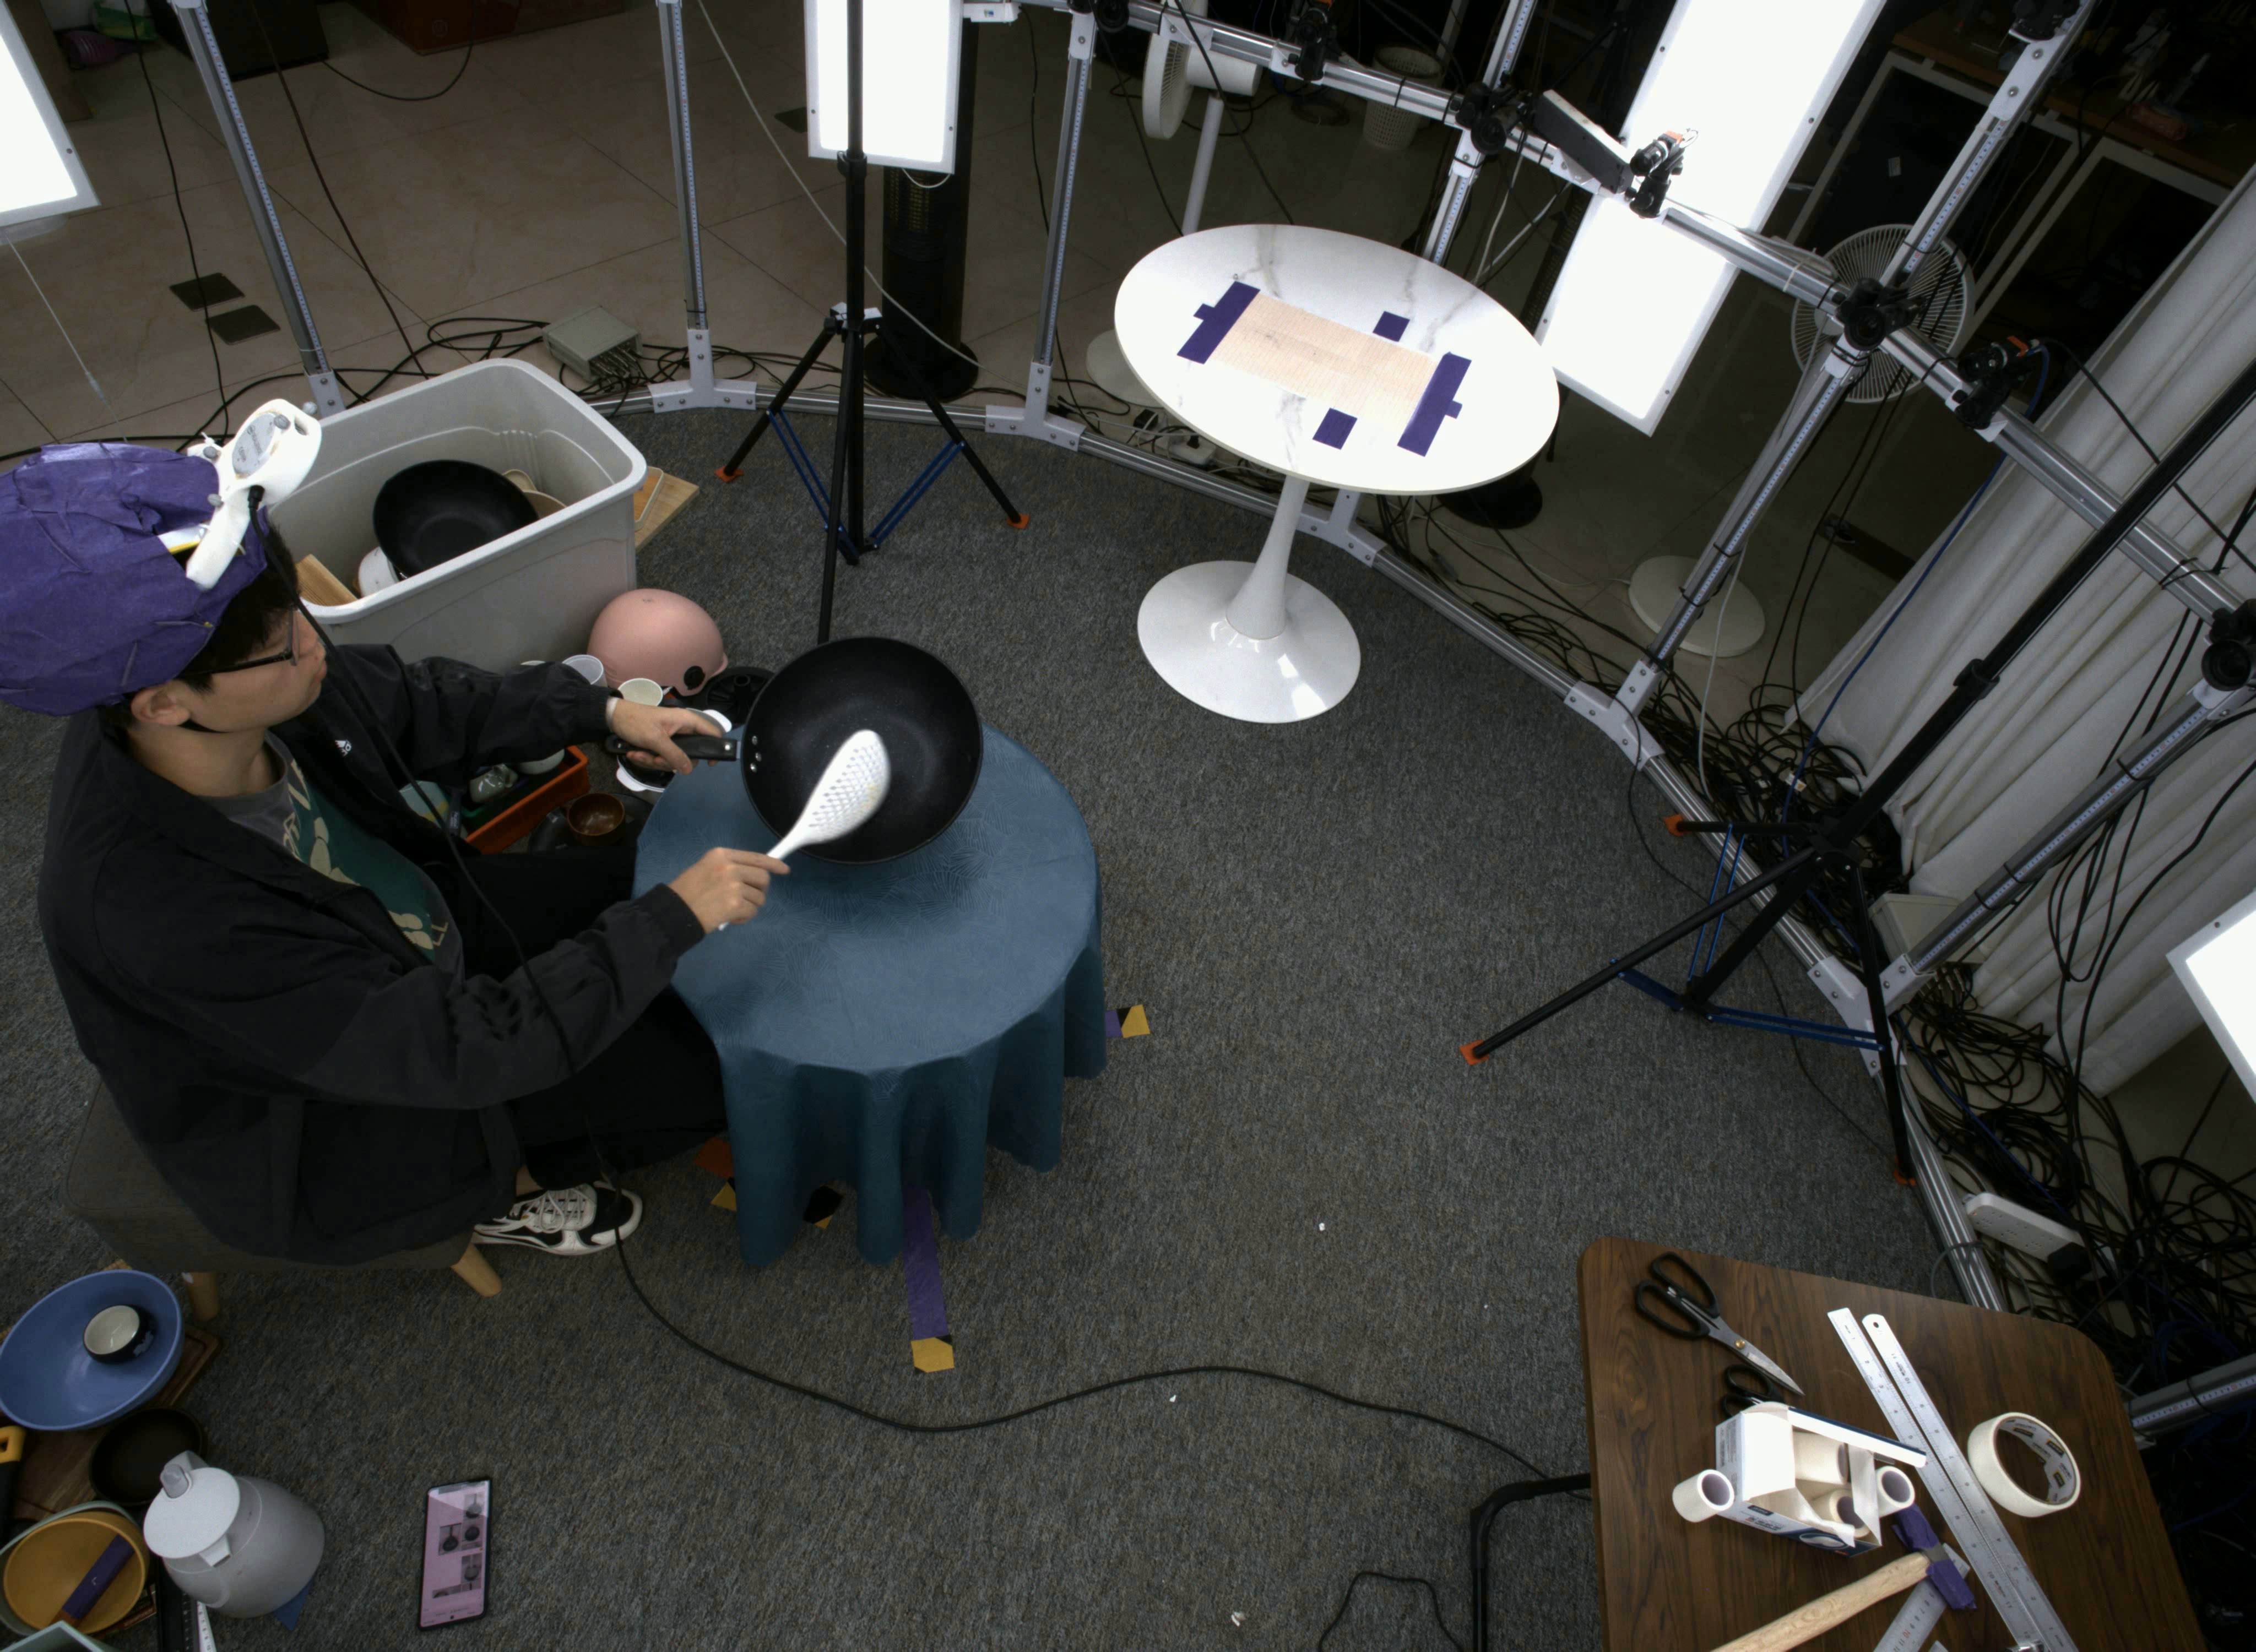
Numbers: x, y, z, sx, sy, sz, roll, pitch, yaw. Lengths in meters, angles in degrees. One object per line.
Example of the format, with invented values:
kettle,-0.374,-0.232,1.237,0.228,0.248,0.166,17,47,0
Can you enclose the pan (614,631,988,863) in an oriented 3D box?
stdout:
pan,-0.415,-0.094,1.669,0.473,0.113,0.309,-1,75,-4

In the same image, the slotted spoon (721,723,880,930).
slotted spoon,-0.394,0.008,1.572,0.049,0.141,0.346,23,46,17
